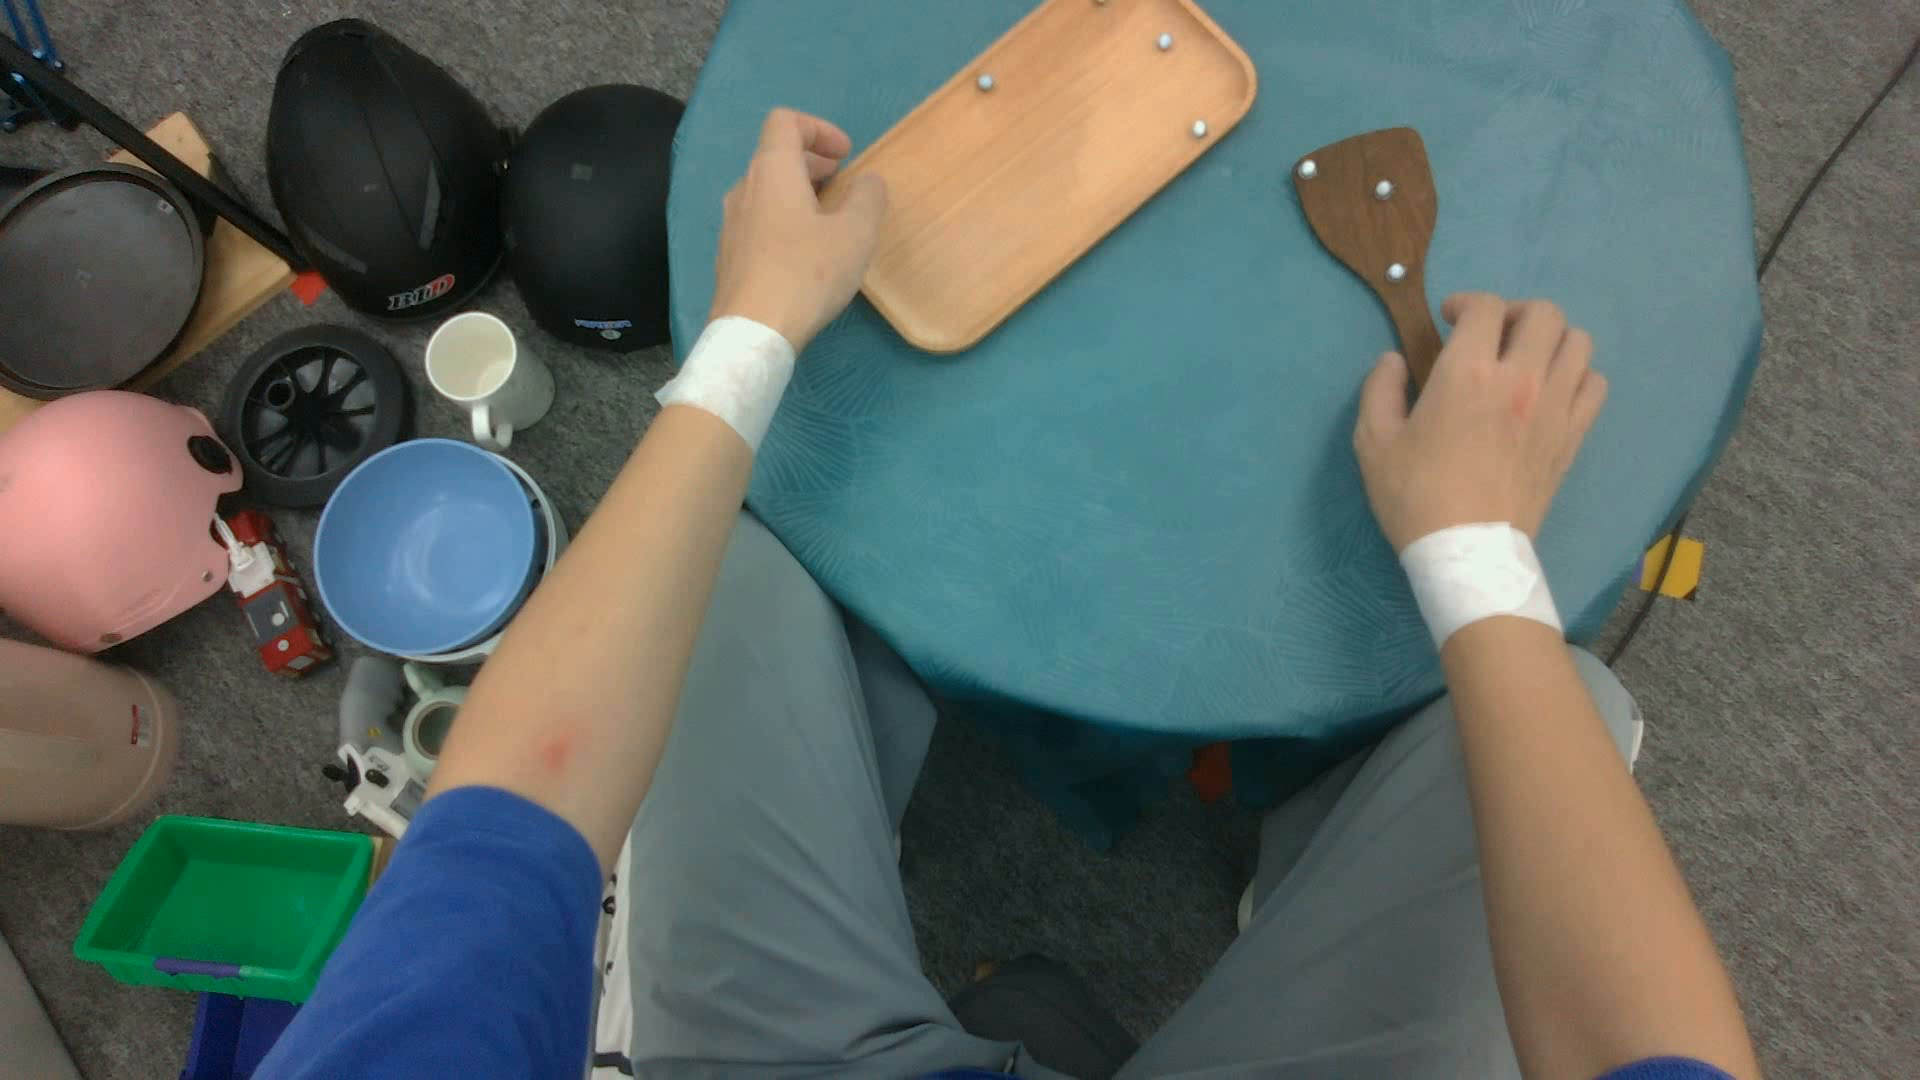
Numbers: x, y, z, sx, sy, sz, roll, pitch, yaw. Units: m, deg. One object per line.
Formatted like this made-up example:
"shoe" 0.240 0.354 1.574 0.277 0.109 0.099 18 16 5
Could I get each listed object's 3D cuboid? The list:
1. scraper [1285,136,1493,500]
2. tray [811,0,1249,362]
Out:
"scraper" 0.243 -0.122 0.752 0.076 0.011 0.211 -16 76 1
"tray" 0.040 -0.213 0.786 0.251 0.023 0.130 -40 74 -5
